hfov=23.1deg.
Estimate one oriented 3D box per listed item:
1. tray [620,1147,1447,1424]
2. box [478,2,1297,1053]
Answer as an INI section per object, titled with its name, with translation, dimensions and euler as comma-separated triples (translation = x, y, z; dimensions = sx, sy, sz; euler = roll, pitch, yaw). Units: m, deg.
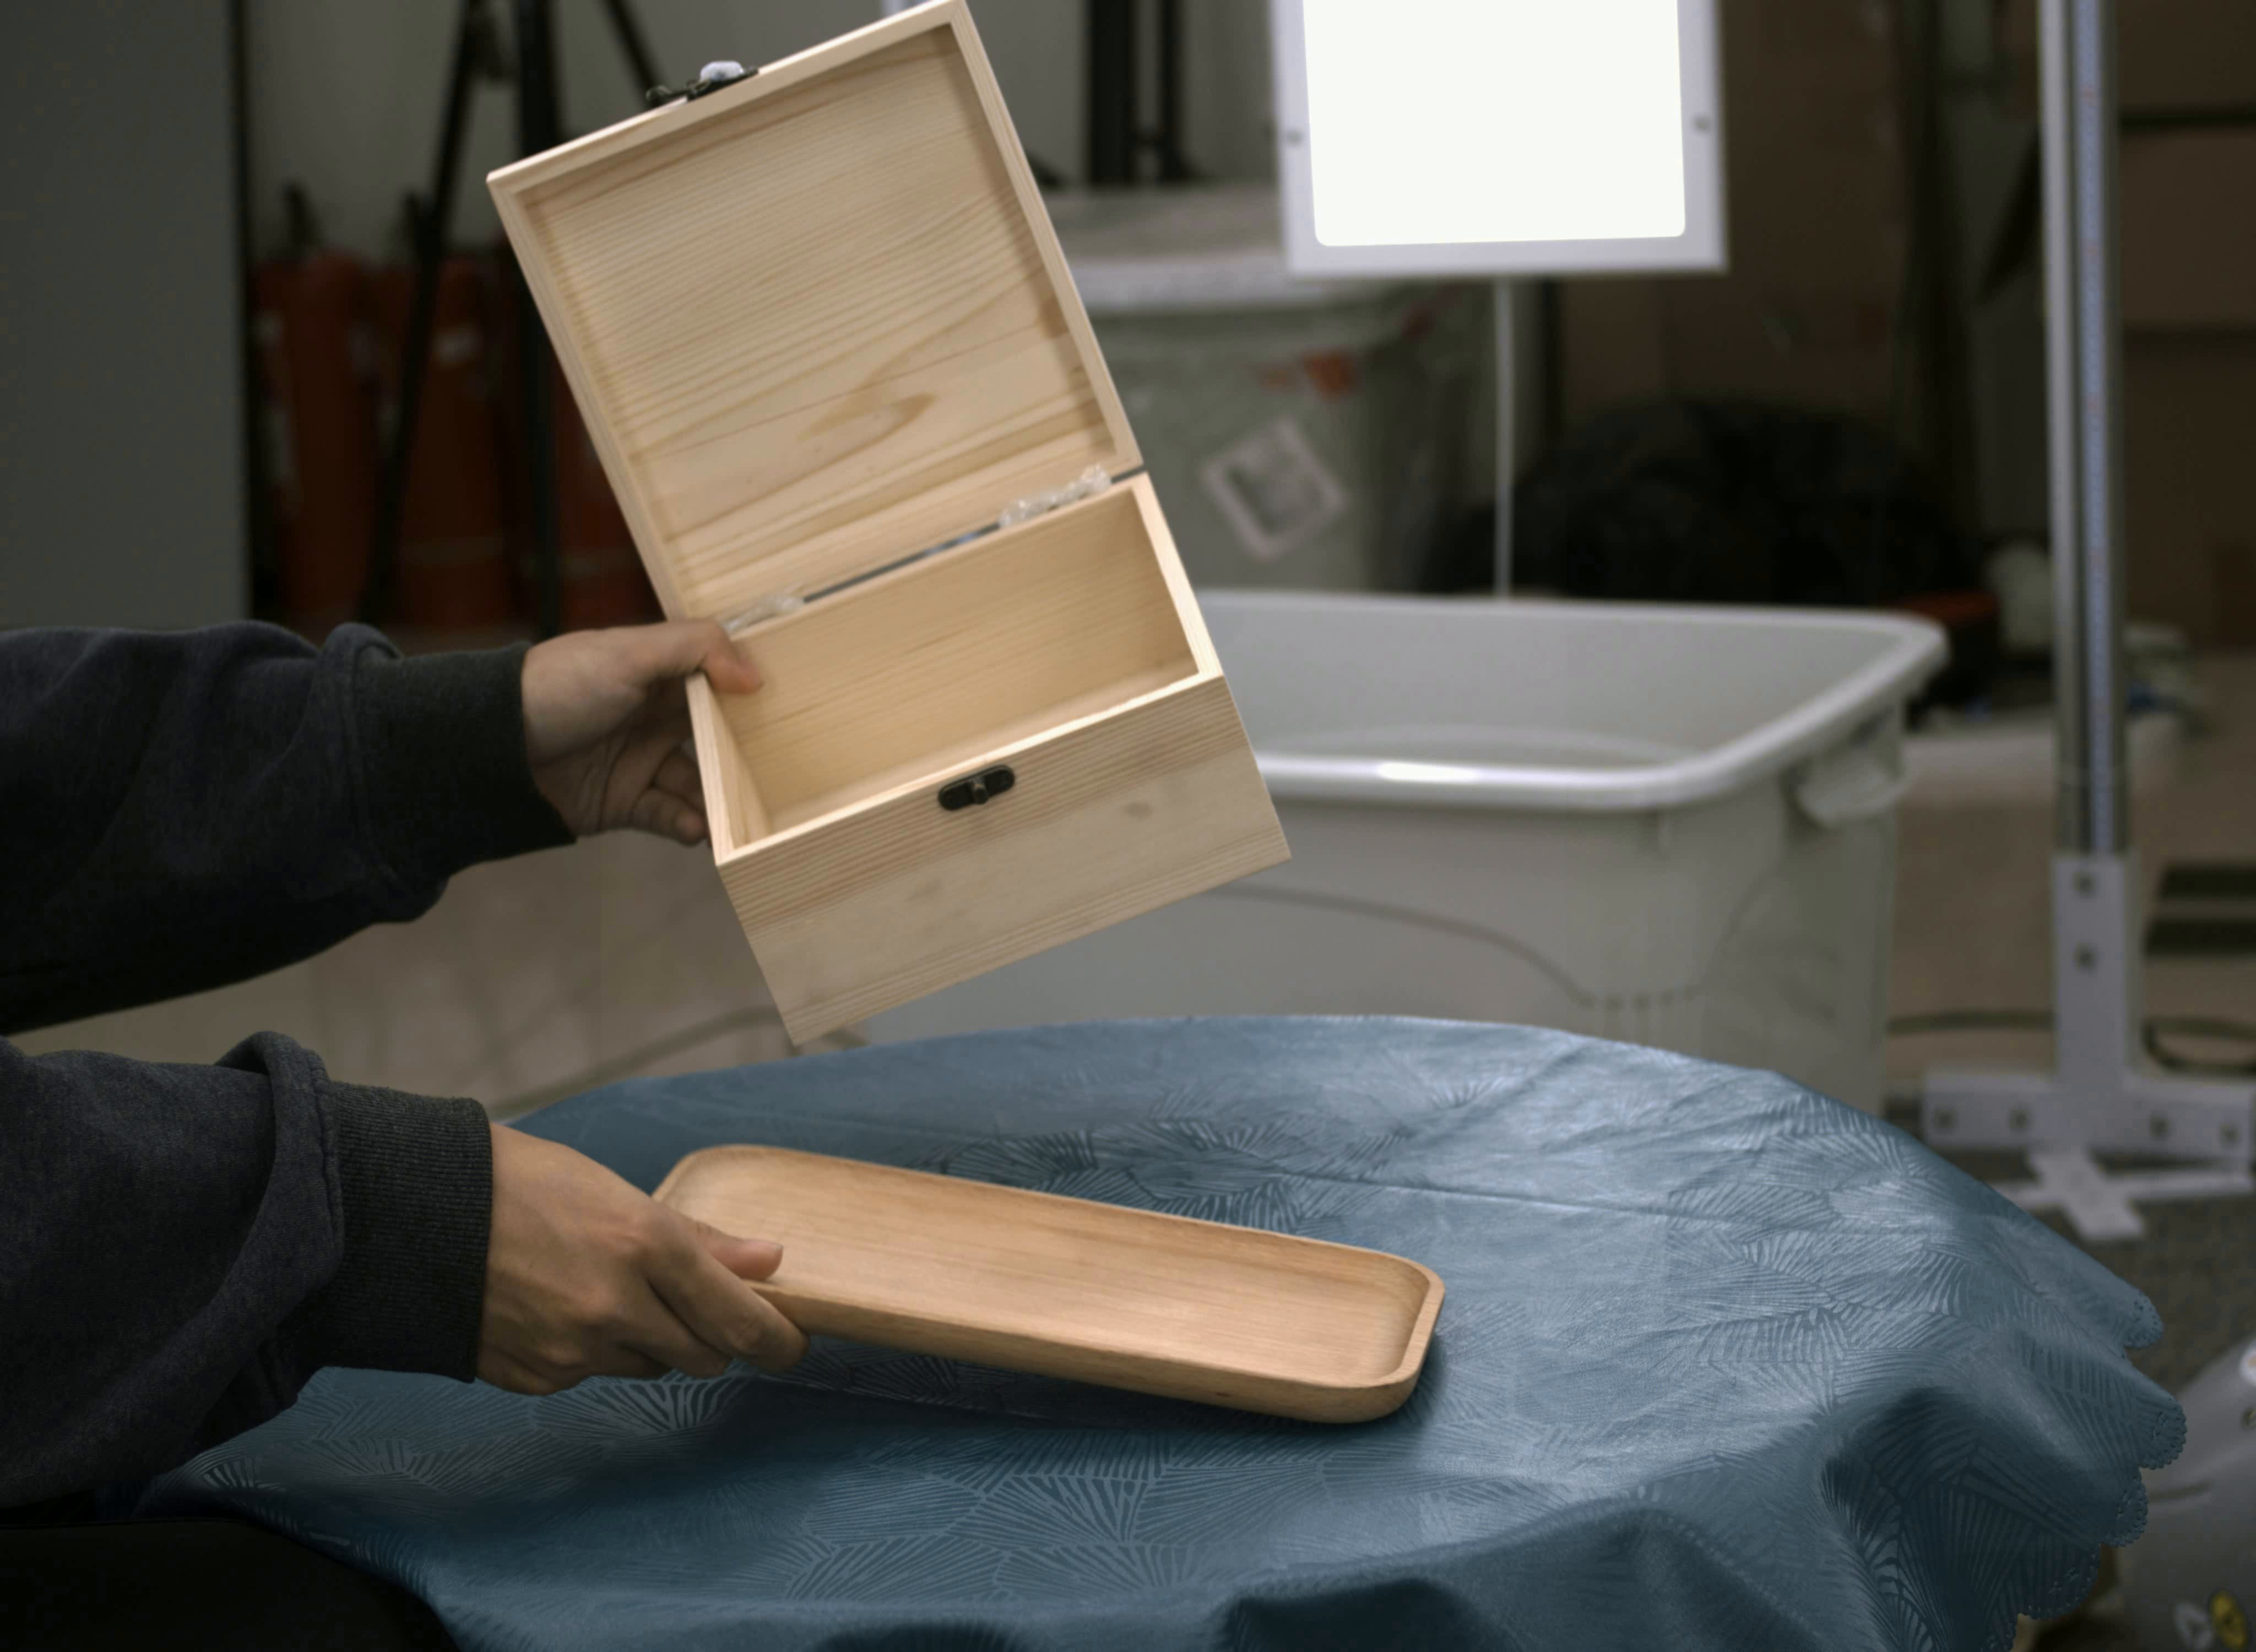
[tray]
translation = -0.028, 0.142, 1.715
dimensions = 0.252, 0.023, 0.129
euler = 8, 13, 11
[box]
translation = -0.088, -0.109, 1.908
dimensions = 0.182, 0.252, 0.266
euler = -24, 24, 2
